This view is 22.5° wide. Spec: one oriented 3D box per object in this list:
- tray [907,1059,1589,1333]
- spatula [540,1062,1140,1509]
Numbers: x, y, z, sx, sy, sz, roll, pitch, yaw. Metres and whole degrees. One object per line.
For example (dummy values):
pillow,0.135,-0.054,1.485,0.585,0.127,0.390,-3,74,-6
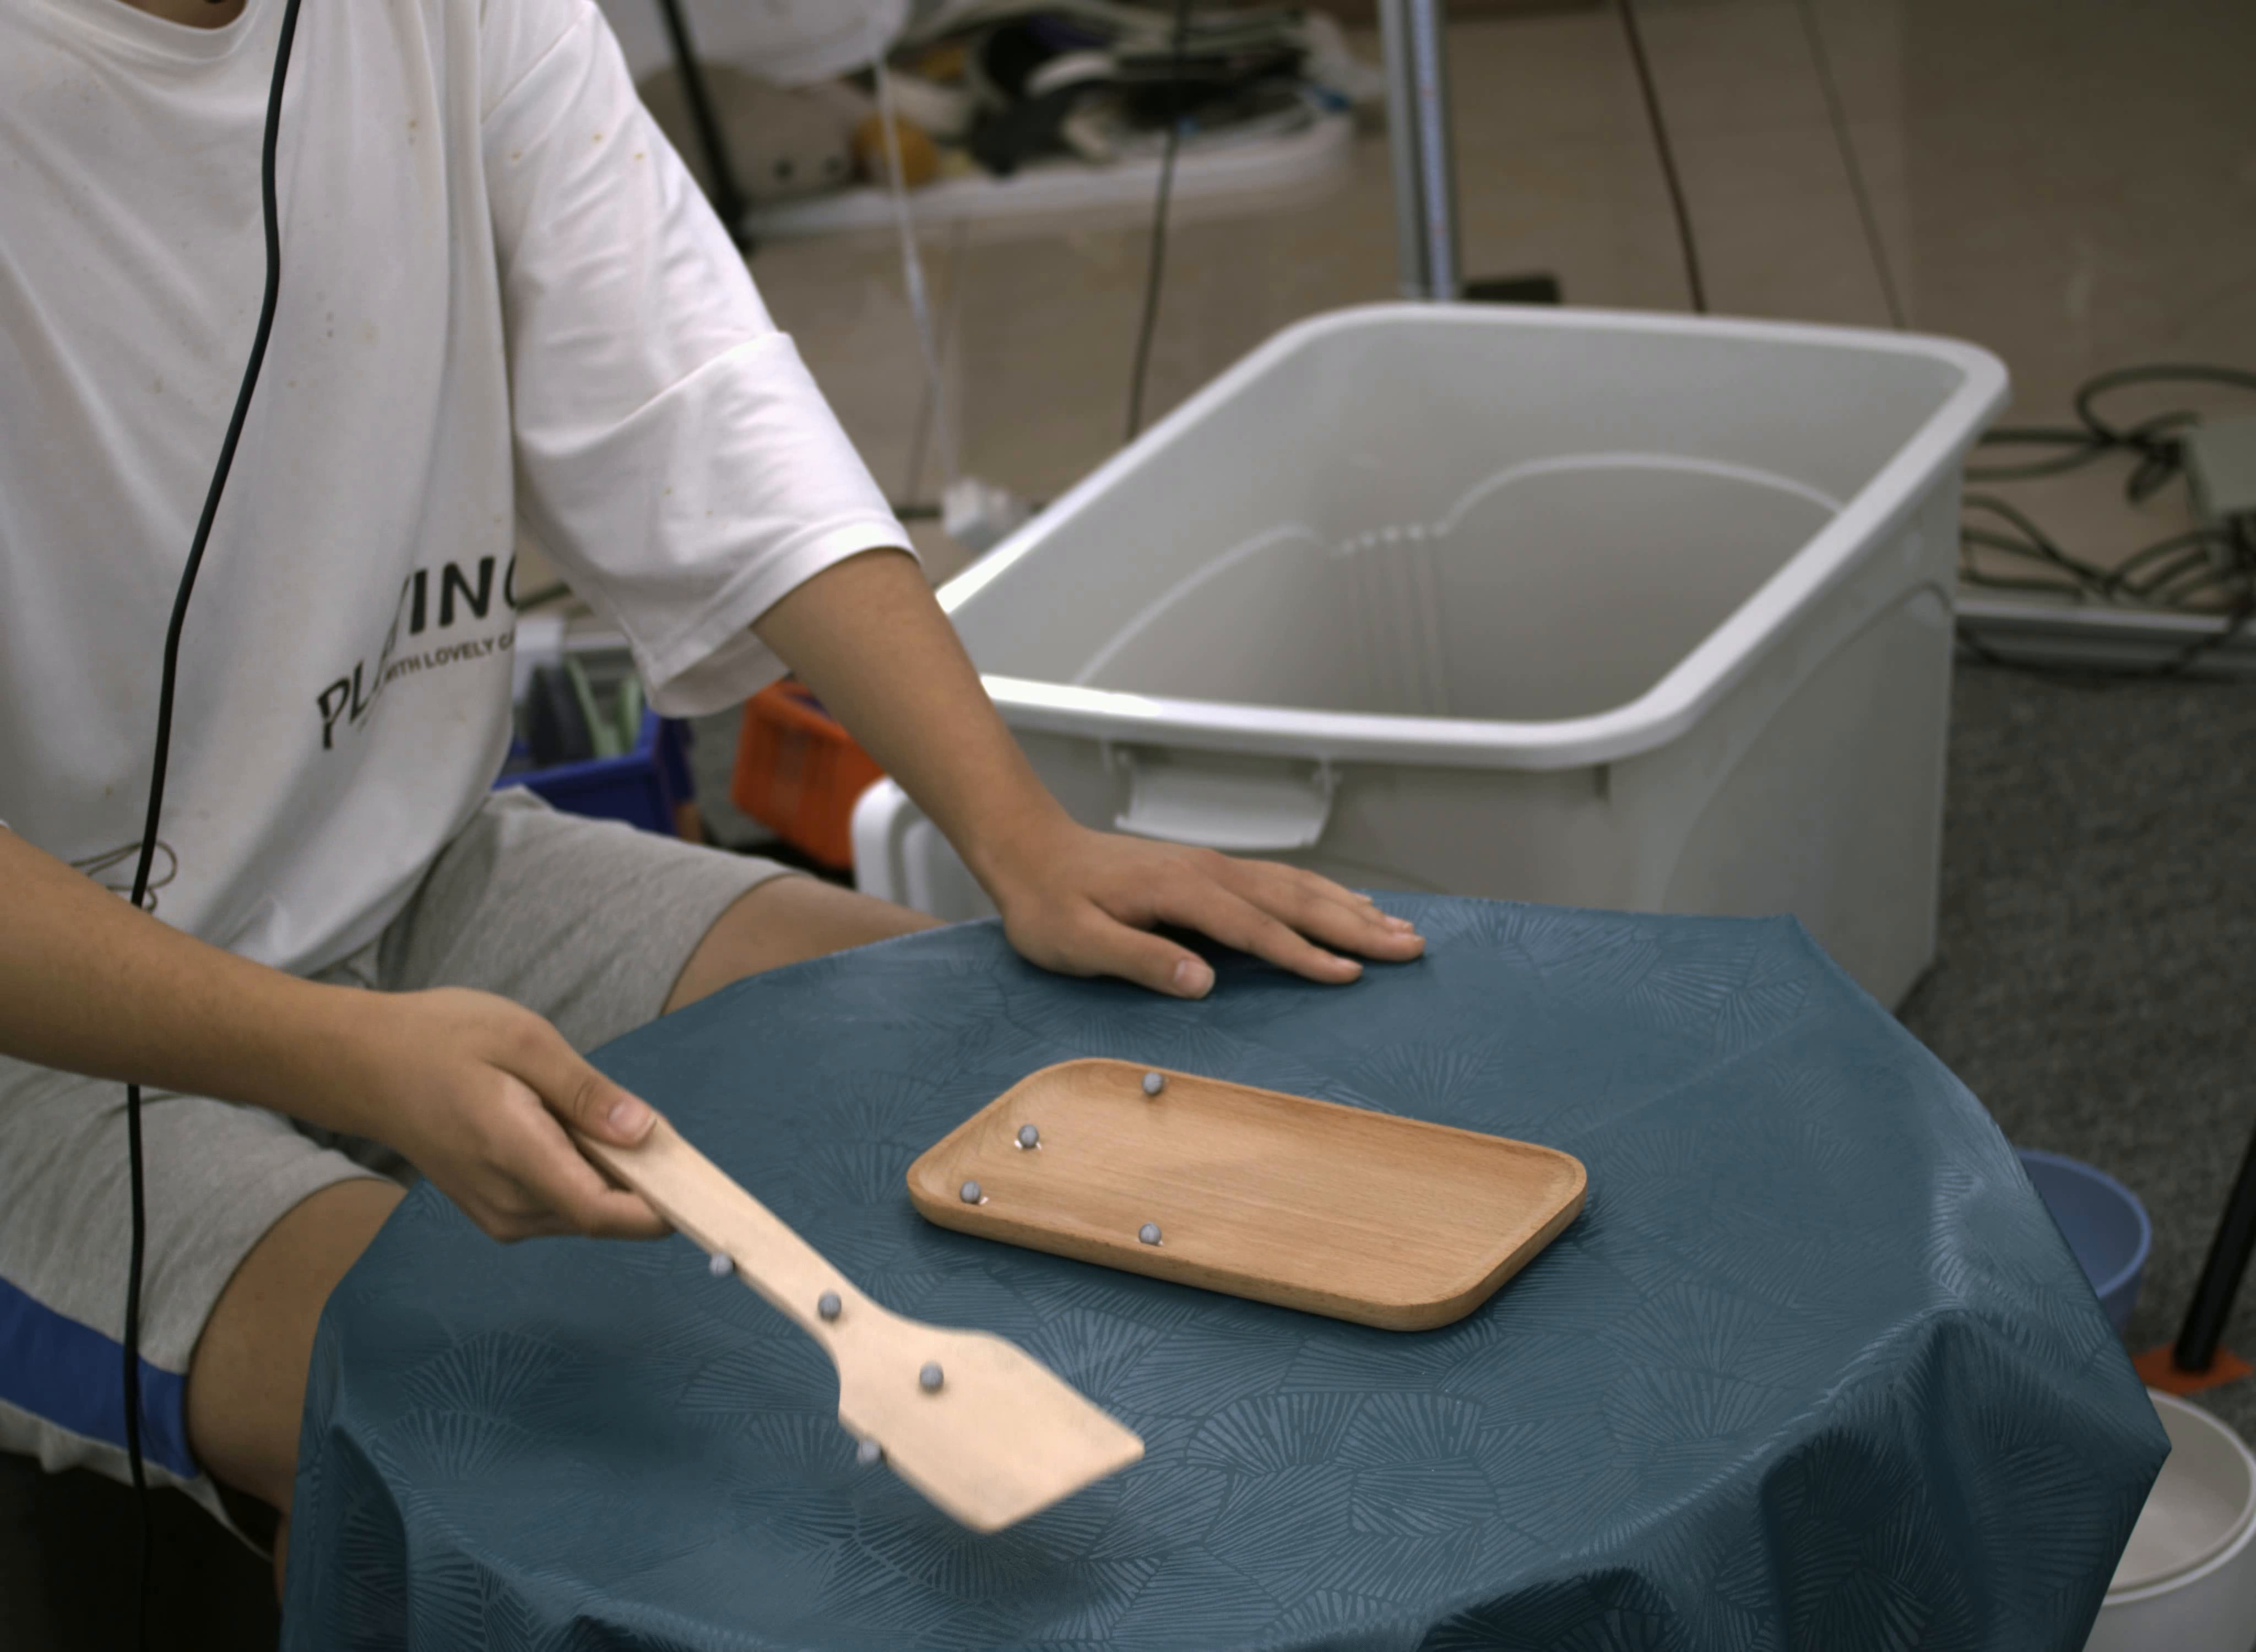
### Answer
tray,0.043,0.137,2.121,0.249,0.023,0.129,12,33,34
spatula,-0.114,0.153,1.971,0.072,0.011,0.289,-26,42,-32
